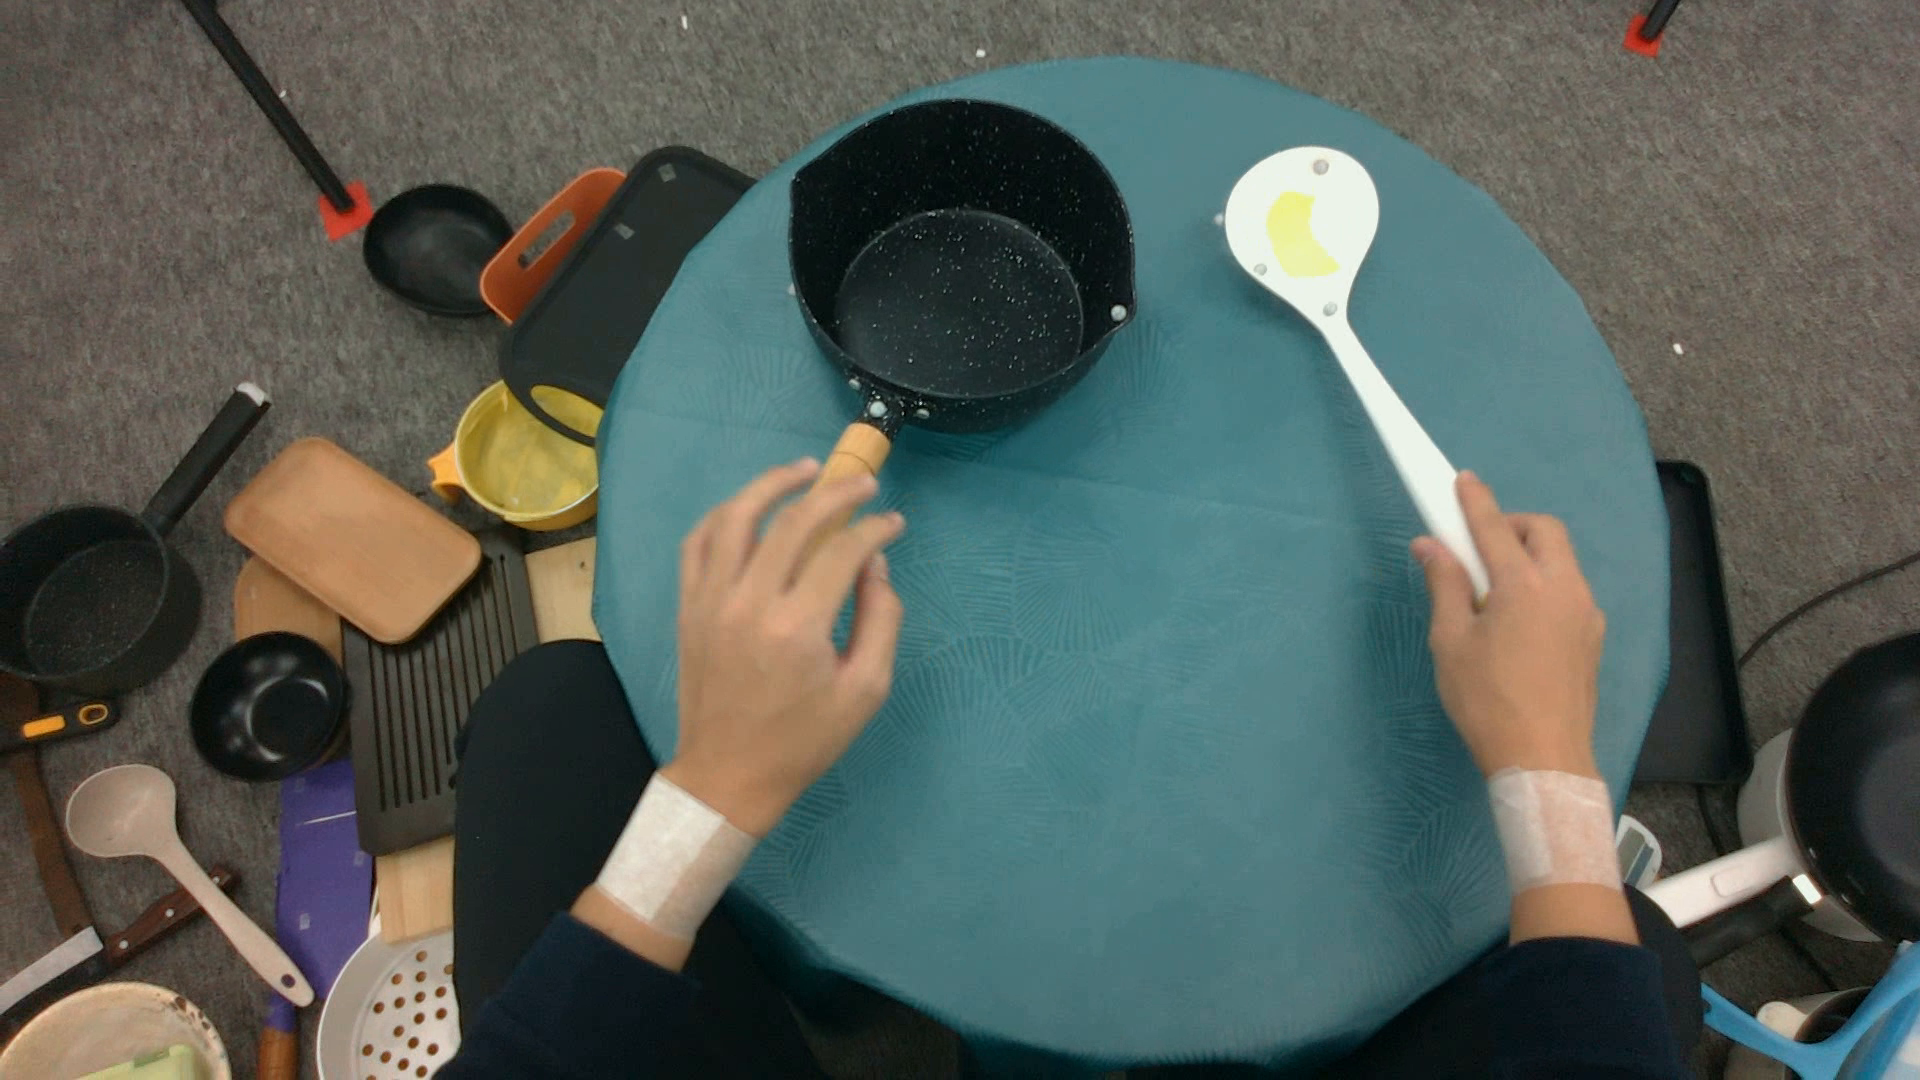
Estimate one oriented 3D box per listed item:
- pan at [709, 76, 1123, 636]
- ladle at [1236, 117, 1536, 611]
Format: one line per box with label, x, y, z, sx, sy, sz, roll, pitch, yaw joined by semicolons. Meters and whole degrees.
pan;-0.038;-0.089;0.731;0.207;0.108;0.344;22;70;5
ladle;0.230;-0.103;0.738;0.090;0.069;0.294;-10;59;-17
